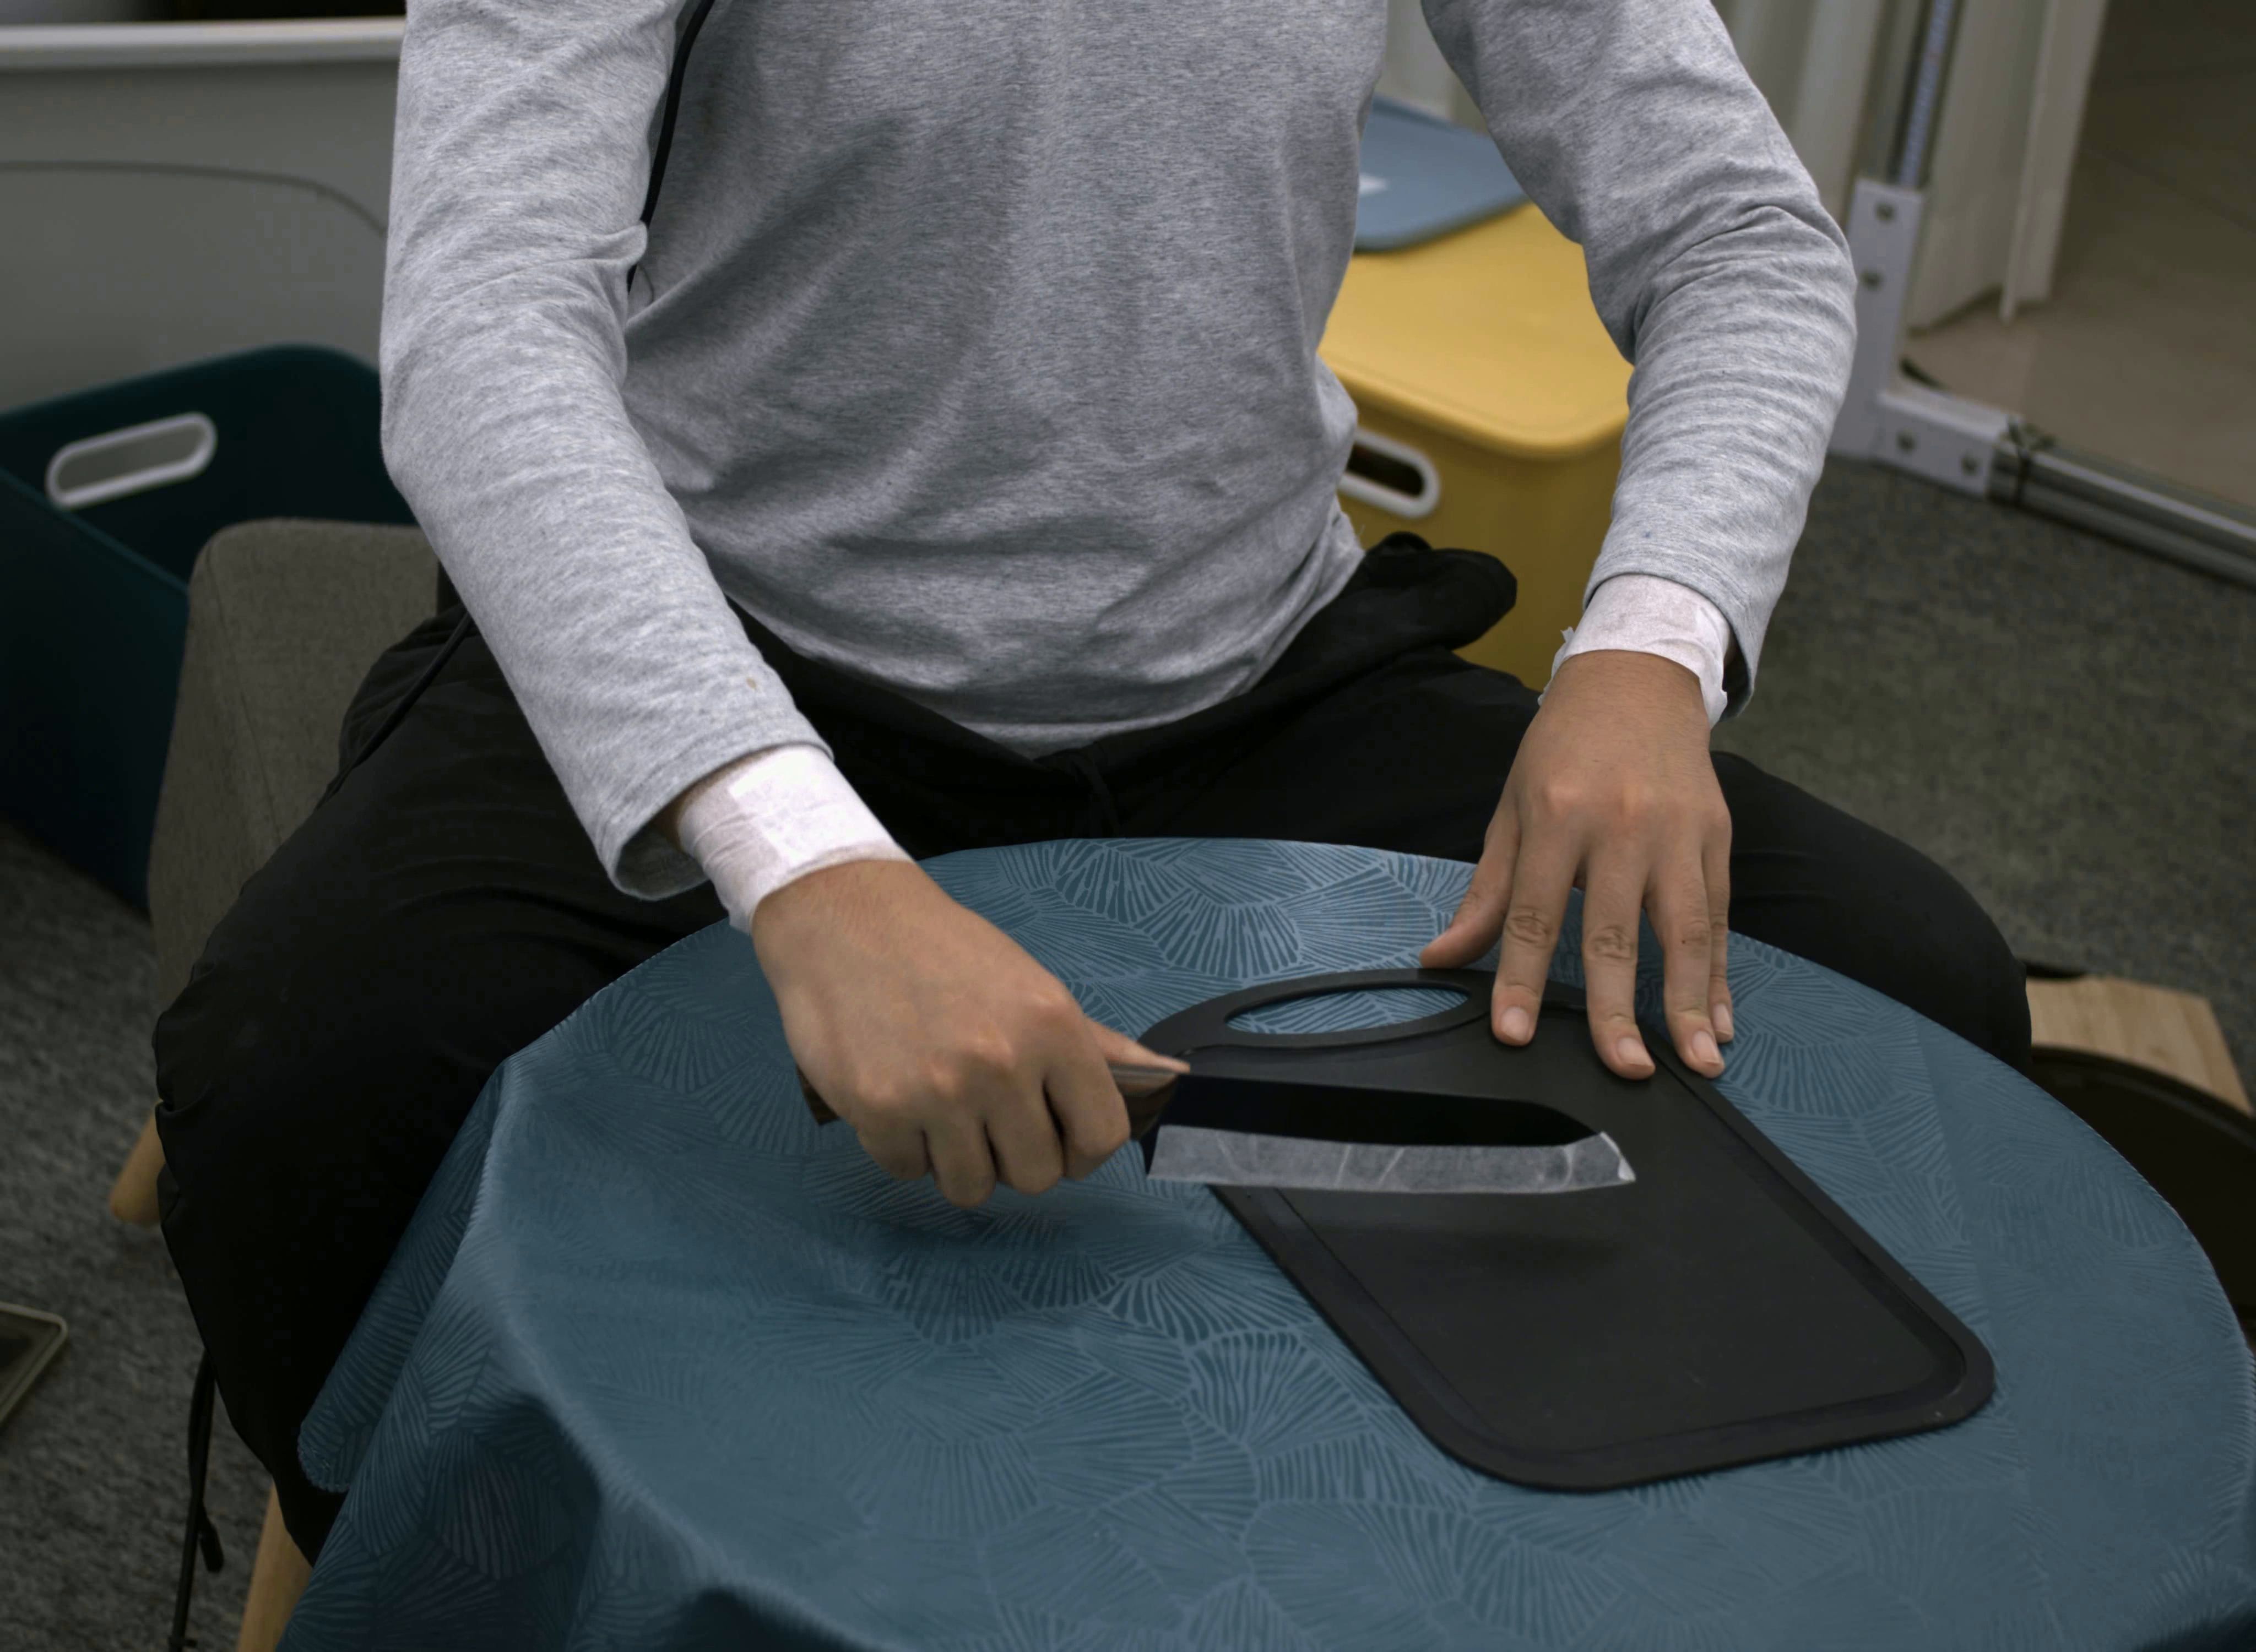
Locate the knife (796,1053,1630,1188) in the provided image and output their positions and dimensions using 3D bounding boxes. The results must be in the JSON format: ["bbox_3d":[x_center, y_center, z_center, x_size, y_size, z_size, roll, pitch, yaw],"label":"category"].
[{"bbox_3d":[0.030,0.101,1.783,0.287,0.050,0.020,6,39,-10],"label":"knife"}]

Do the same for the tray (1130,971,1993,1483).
[{"bbox_3d":[0.139,0.127,1.823,0.210,0.010,0.328,-6,29,-24],"label":"tray"}]
